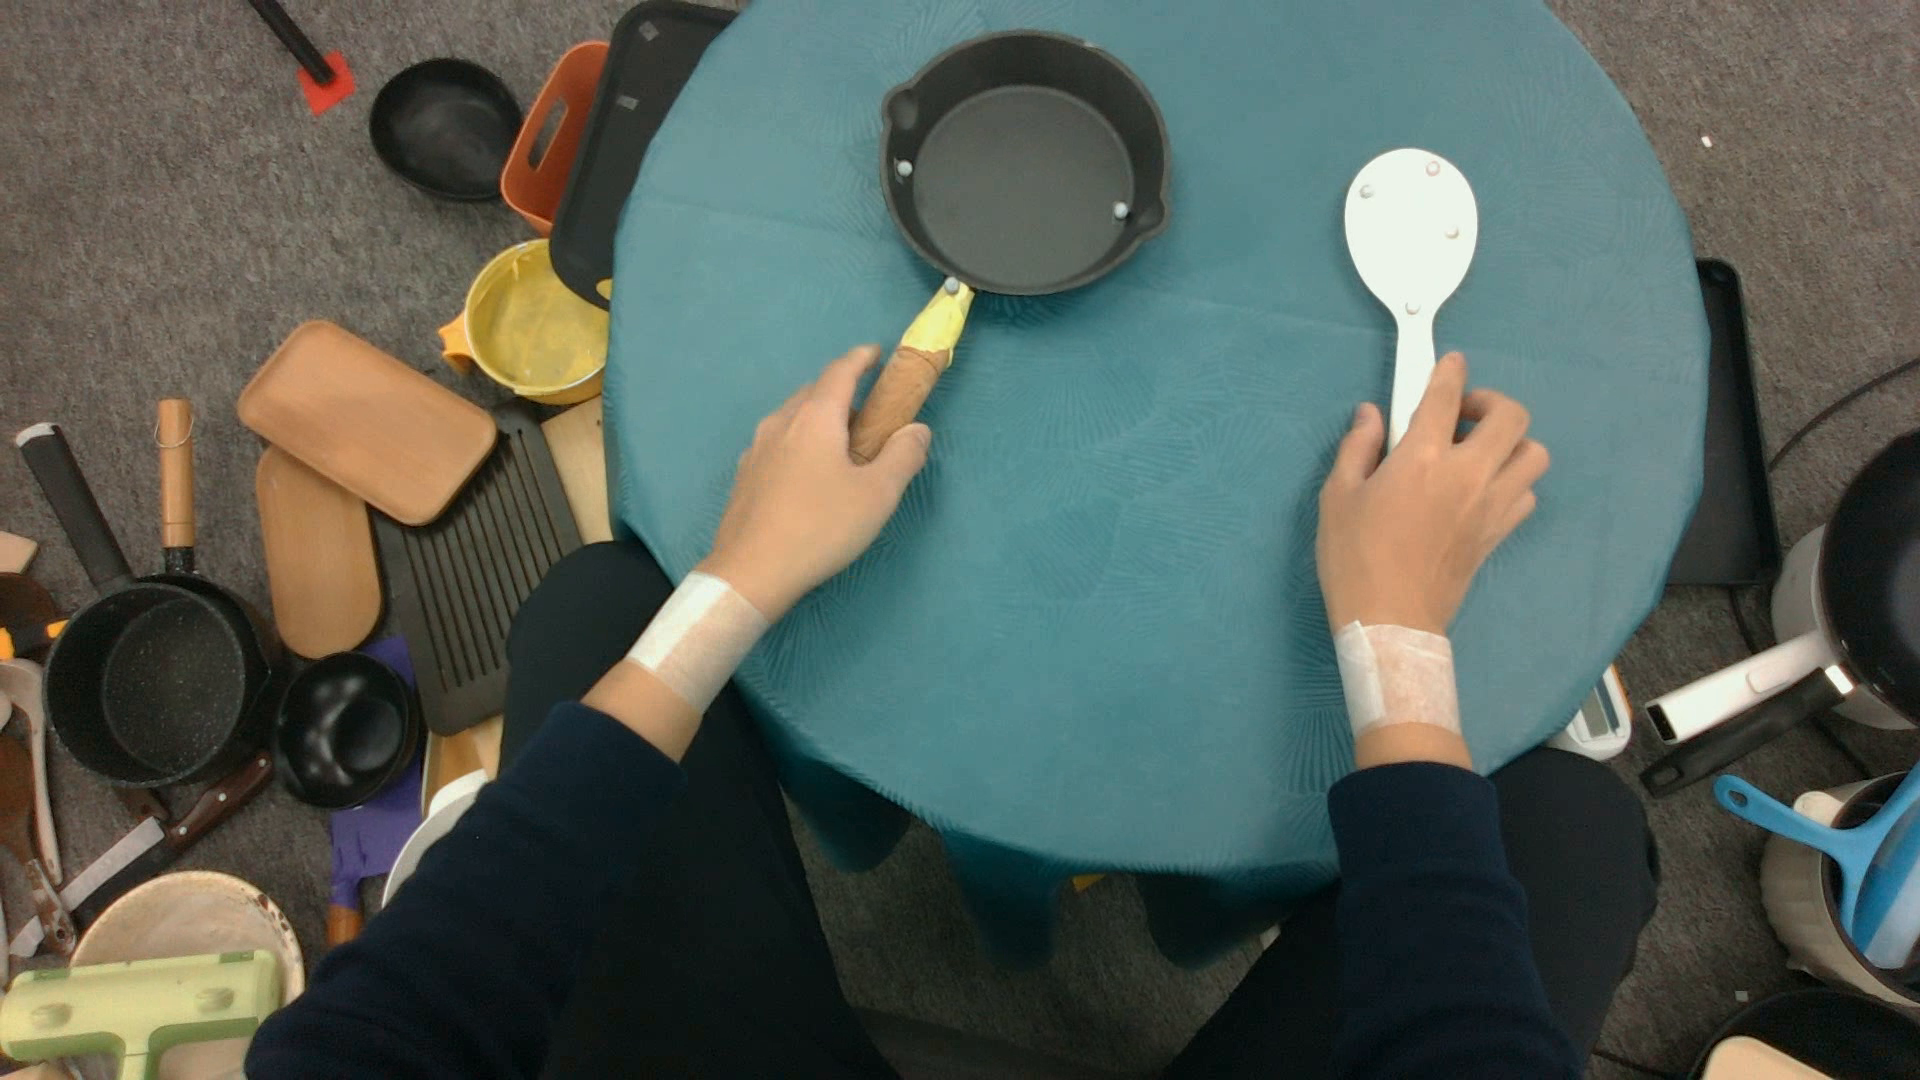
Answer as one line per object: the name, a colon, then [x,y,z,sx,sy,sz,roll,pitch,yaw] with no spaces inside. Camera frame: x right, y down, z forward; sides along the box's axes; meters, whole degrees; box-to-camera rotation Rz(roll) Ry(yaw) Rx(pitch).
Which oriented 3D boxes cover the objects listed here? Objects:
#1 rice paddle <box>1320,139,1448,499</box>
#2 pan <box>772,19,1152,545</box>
rice paddle: [0.231,-0.124,0.738,0.069,0.029,0.205,0,76,3]
pan: [-0.014,-0.137,0.730,0.169,0.049,0.325,27,76,6]
